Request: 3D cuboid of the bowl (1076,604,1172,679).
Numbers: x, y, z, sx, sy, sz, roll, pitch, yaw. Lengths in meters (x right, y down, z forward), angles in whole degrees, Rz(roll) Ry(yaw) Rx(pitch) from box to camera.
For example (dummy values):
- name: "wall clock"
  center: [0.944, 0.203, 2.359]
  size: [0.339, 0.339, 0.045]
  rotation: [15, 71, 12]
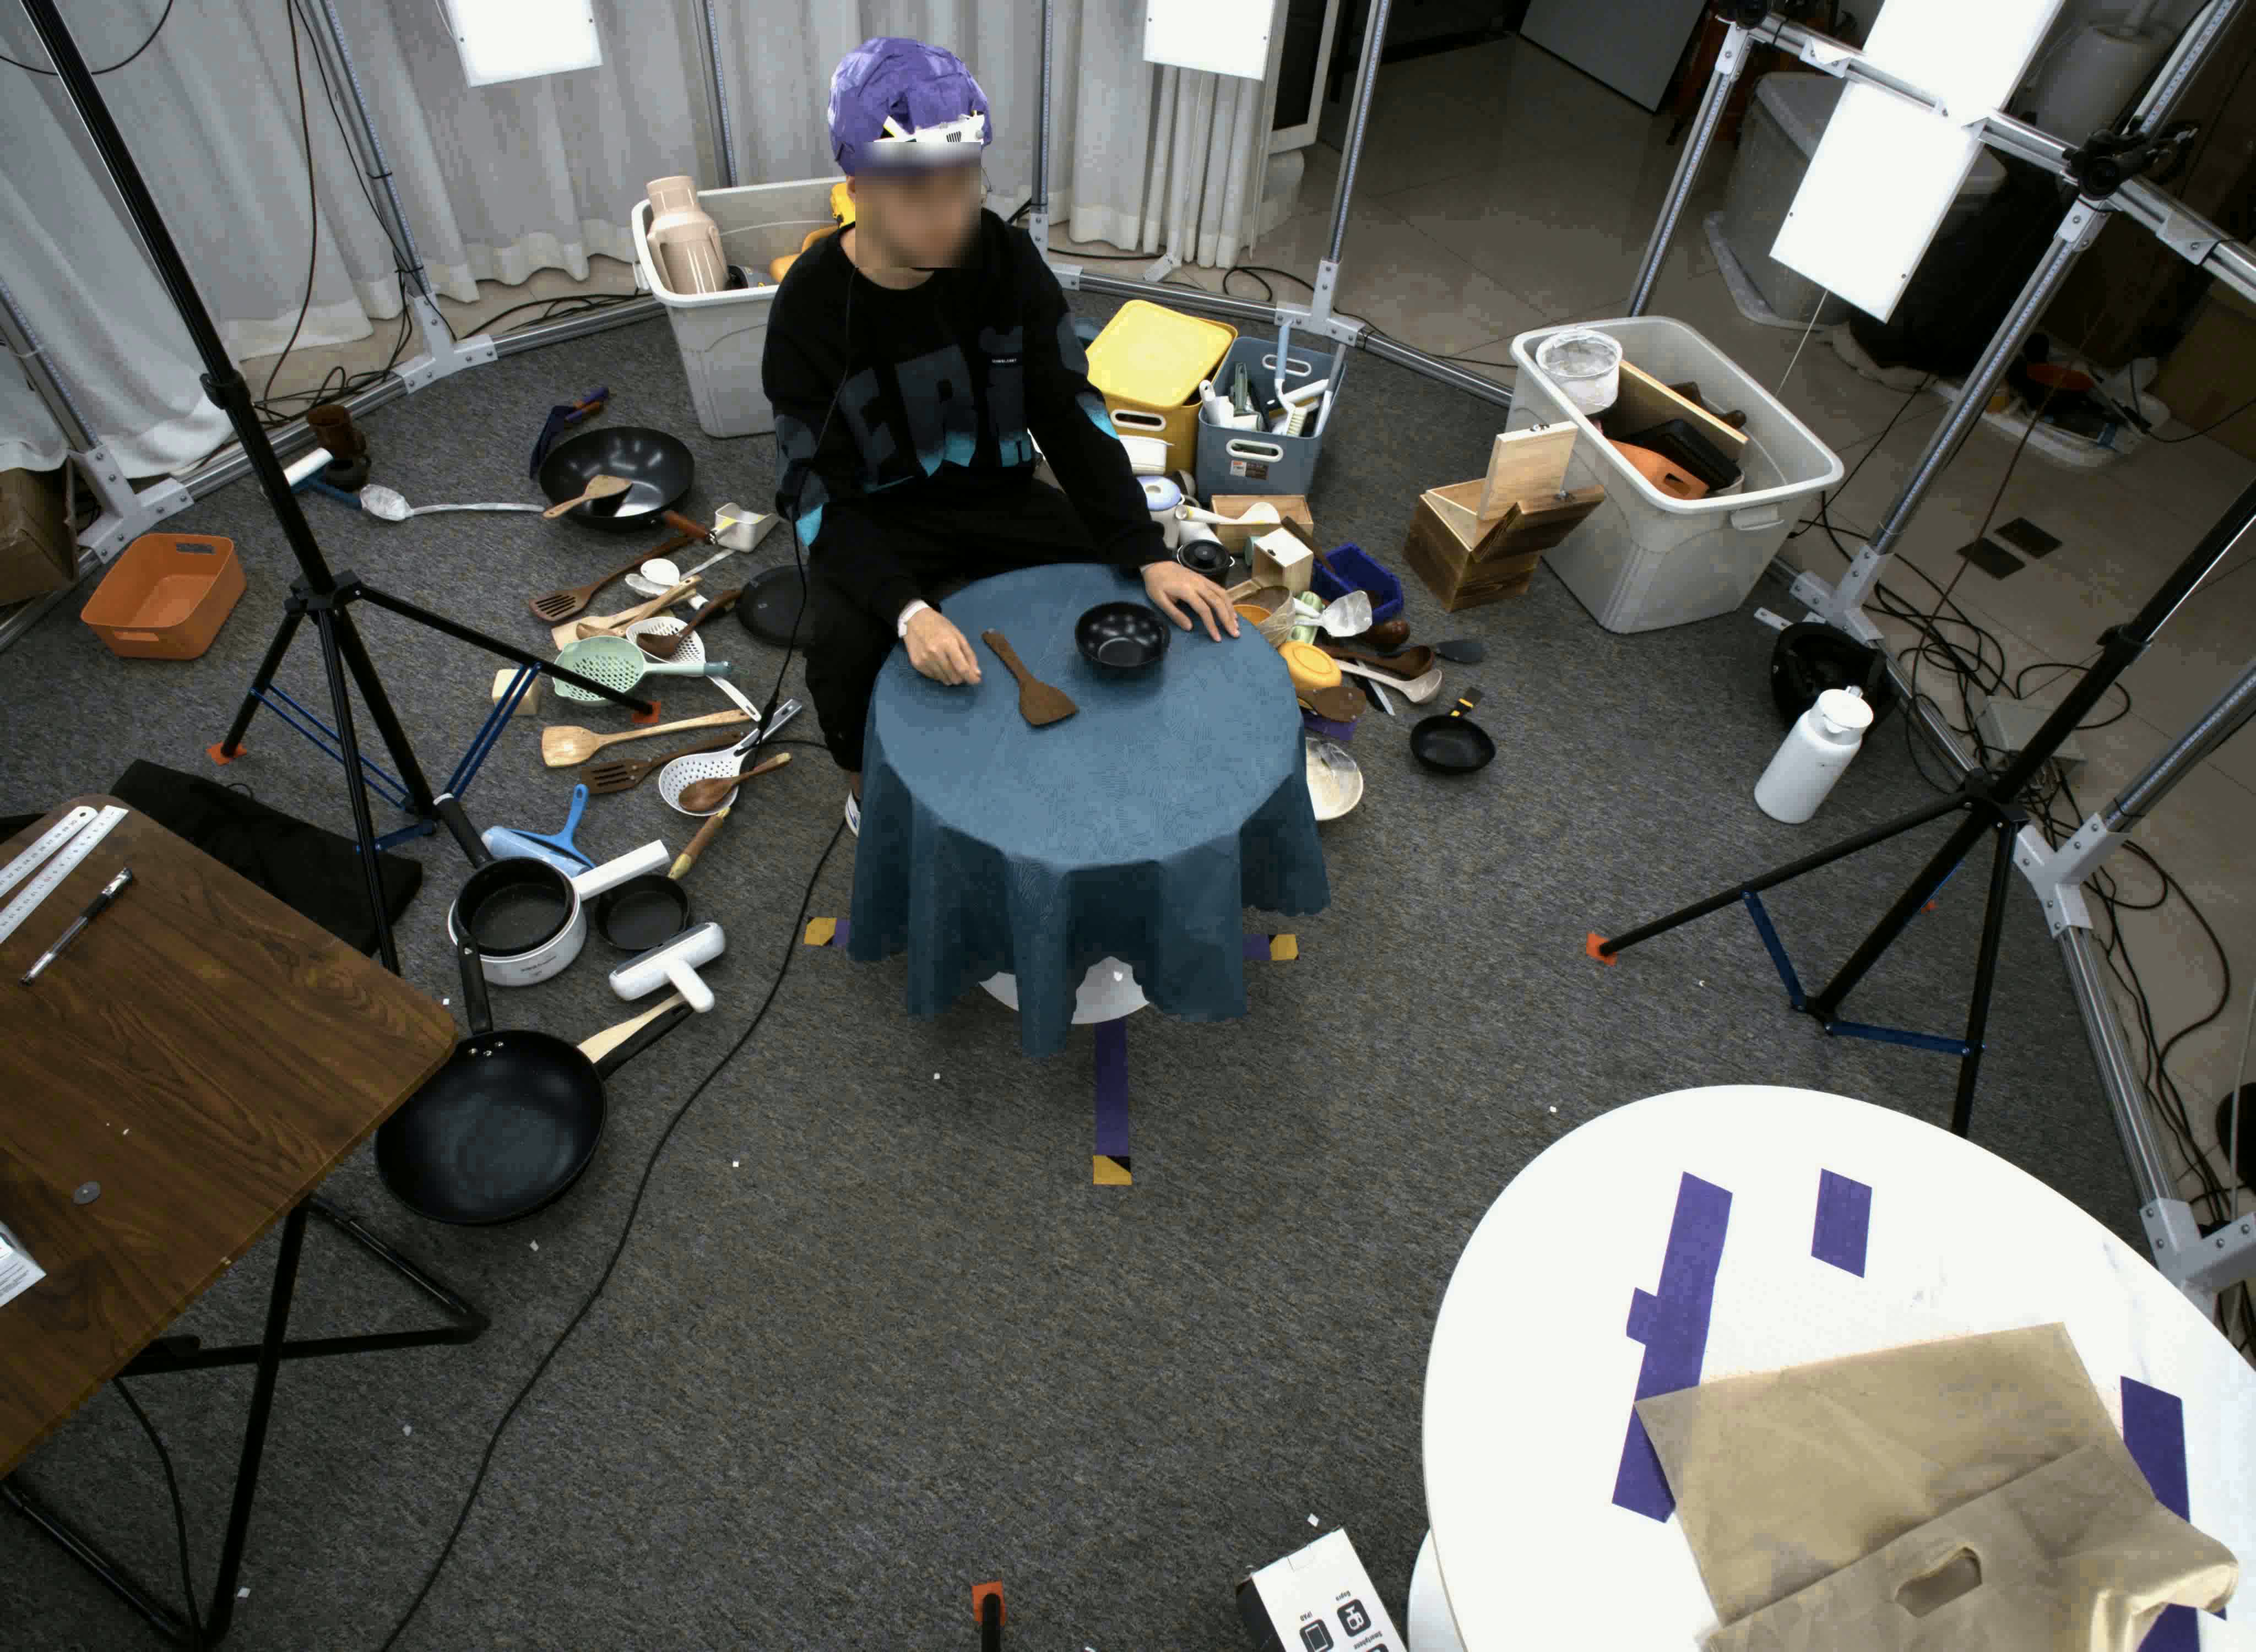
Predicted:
- name: "bowl"
  center: [-0.006, -0.262, 1.882]
  size: [0.140, 0.048, 0.143]
  rotation: [0, 50, 0]

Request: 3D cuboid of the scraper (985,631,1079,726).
- name: "scraper"
  center: [-0.149, -0.216, 1.858]
  size: [0.076, 0.010, 0.216]
  rotation: [-21, 53, -22]
